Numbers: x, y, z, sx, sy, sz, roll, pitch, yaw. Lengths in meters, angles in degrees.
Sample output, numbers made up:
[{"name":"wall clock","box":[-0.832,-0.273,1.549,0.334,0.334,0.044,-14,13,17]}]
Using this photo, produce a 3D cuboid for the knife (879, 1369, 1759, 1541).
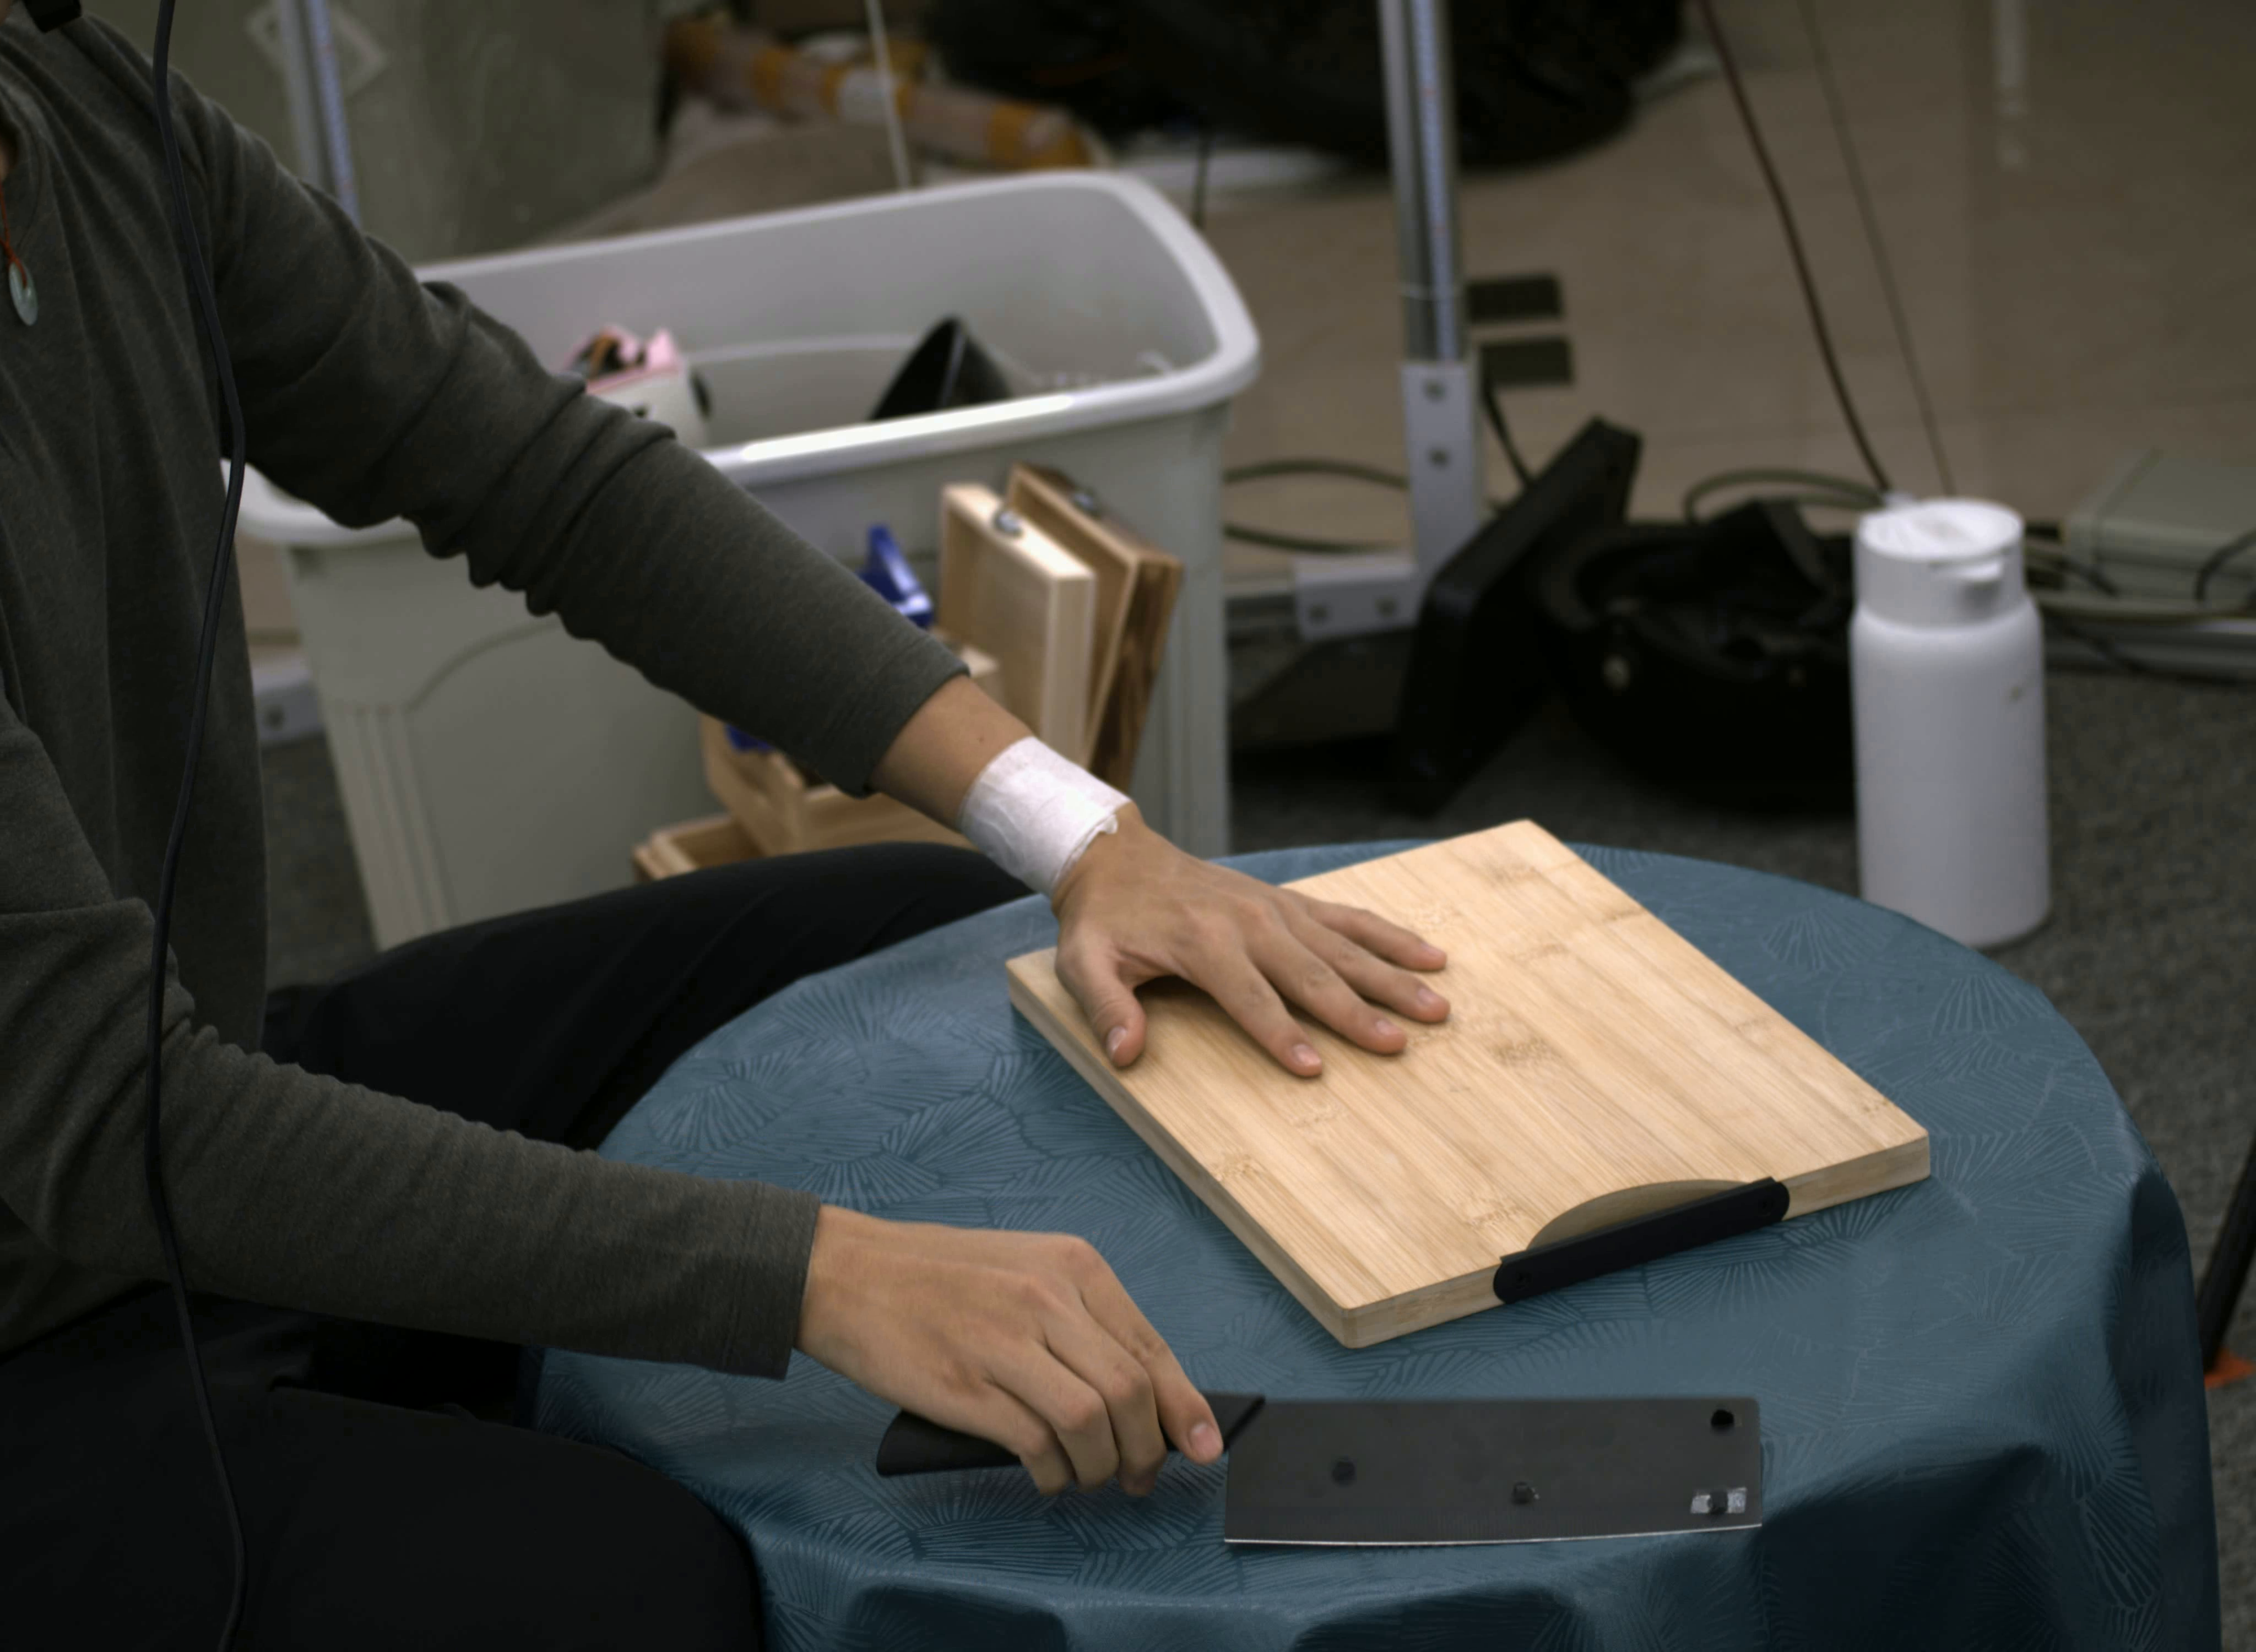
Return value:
[{"name":"knife","box":[0.064,0.213,1.935,0.302,0.021,0.079,1,45,10]}]

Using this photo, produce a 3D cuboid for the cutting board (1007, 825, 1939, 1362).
[{"name":"cutting board","box":[0.125,0.095,2.197,0.250,0.024,0.344,-16,26,-18]}]
